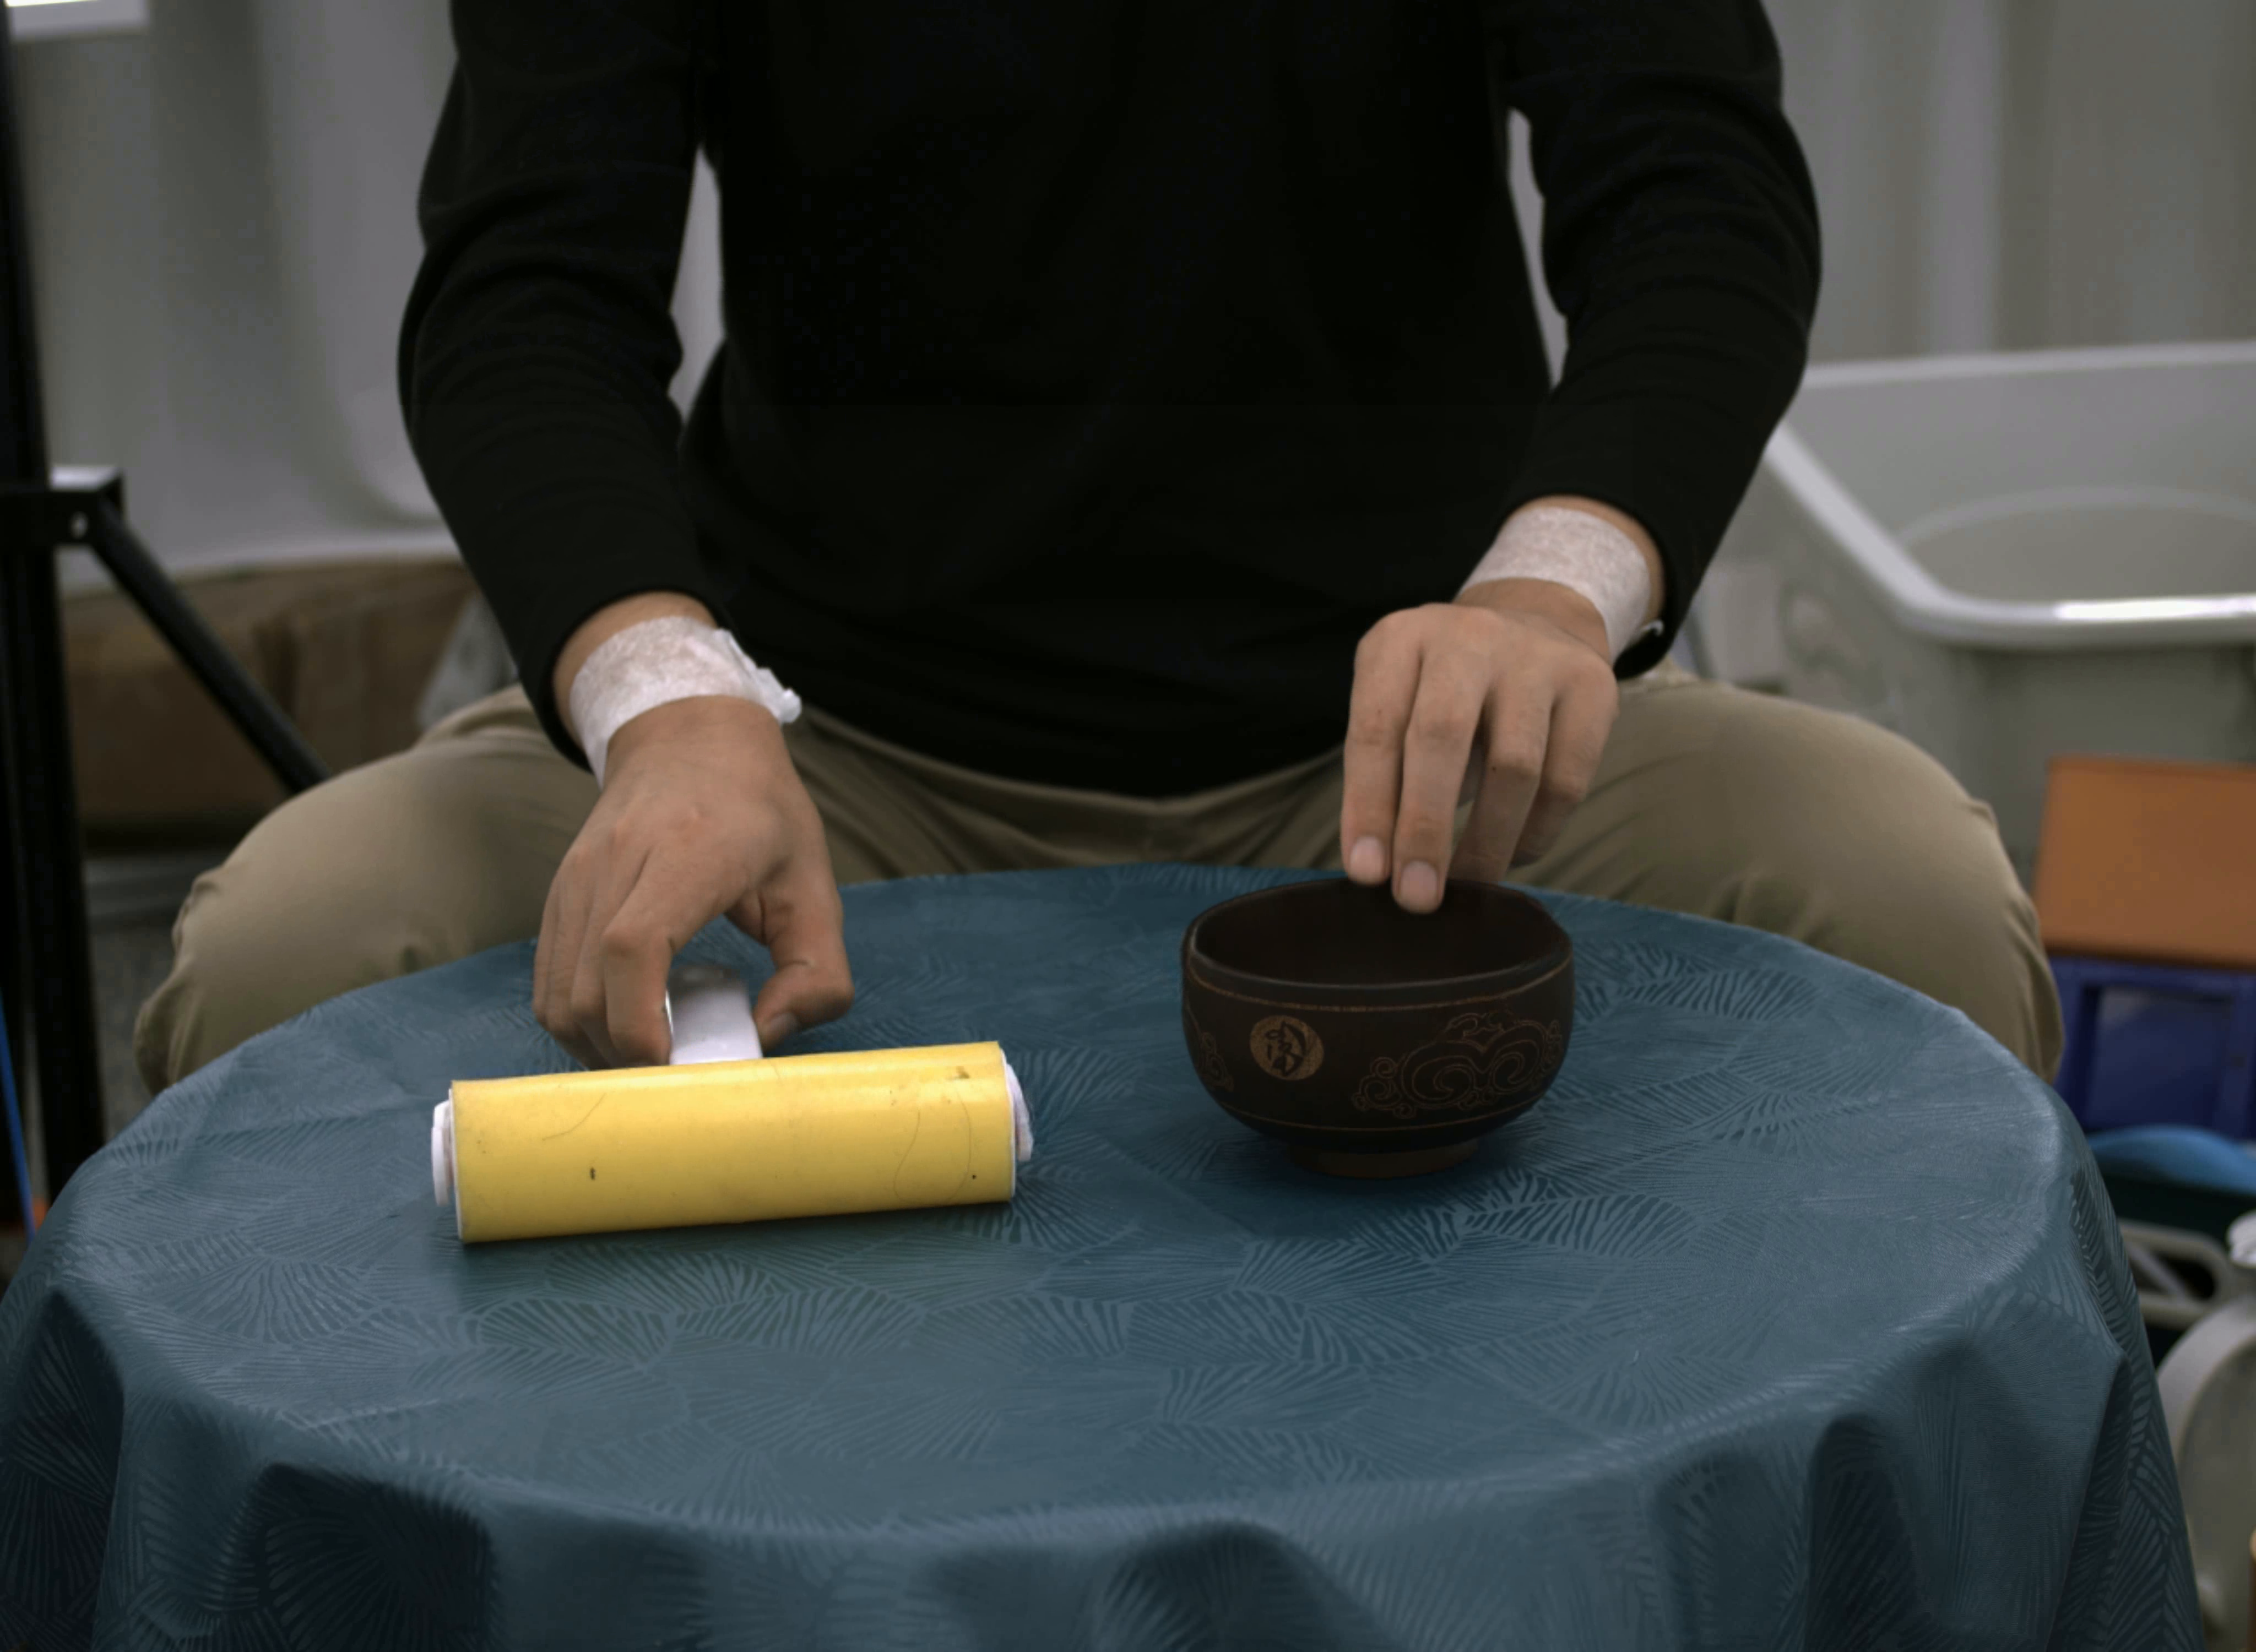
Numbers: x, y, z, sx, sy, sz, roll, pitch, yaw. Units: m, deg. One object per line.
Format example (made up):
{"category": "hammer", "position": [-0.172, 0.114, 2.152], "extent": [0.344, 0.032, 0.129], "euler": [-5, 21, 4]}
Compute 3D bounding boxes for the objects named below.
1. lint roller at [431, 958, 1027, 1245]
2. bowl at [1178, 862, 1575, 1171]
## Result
{"category": "lint roller", "position": [-0.128, 0.066, 1.614], "extent": [0.172, 0.051, 0.194], "euler": [-4, 24, -7]}
{"category": "bowl", "position": [0.074, 0.061, 1.575], "extent": [0.117, 0.070, 0.118], "euler": [-2, 17, -1]}
